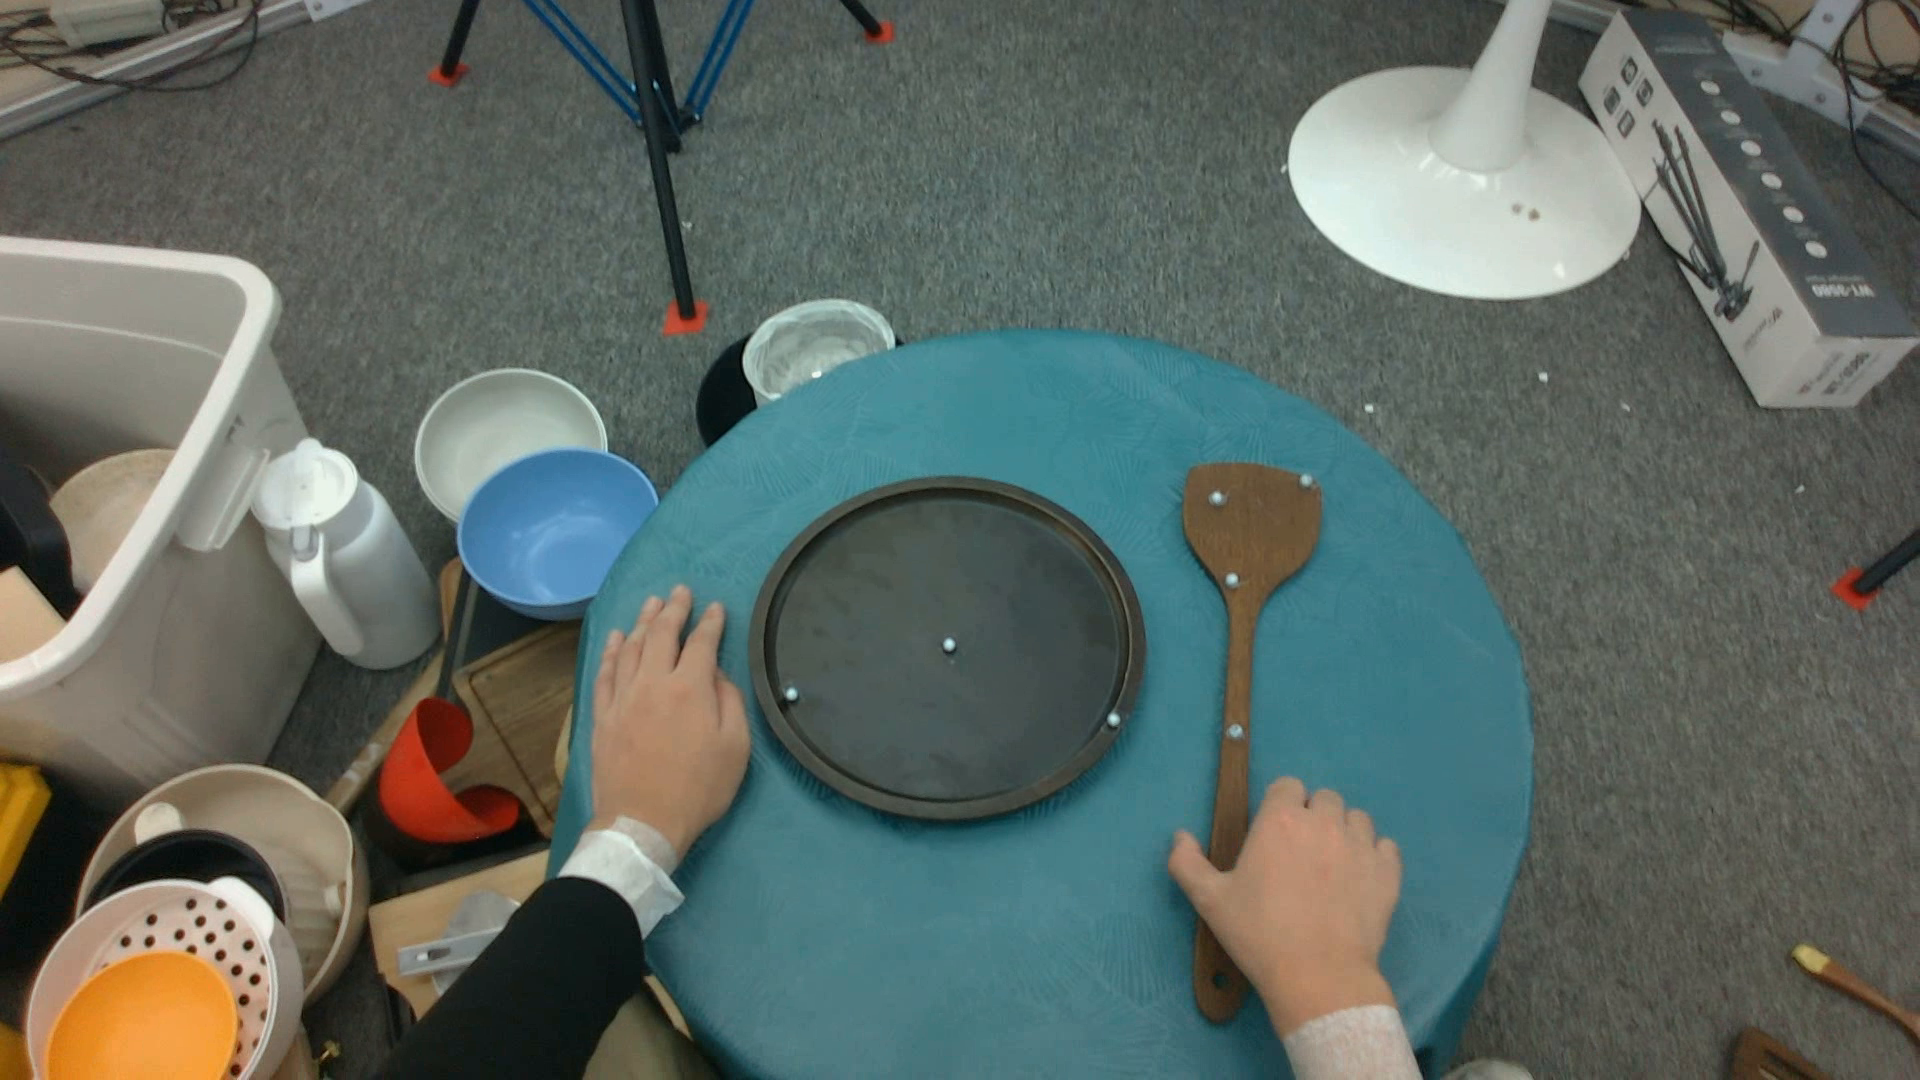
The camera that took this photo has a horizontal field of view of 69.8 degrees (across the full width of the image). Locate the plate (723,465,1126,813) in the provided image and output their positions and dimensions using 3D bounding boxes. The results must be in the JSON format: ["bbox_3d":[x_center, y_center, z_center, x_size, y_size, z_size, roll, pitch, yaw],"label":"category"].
[{"bbox_3d":[-0.022,0.056,0.874,0.255,0.029,0.256,2,55,-2],"label":"plate"}]

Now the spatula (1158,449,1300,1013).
[{"bbox_3d":[0.160,0.097,0.857,0.096,0.016,0.388,8,57,4],"label":"spatula"}]
